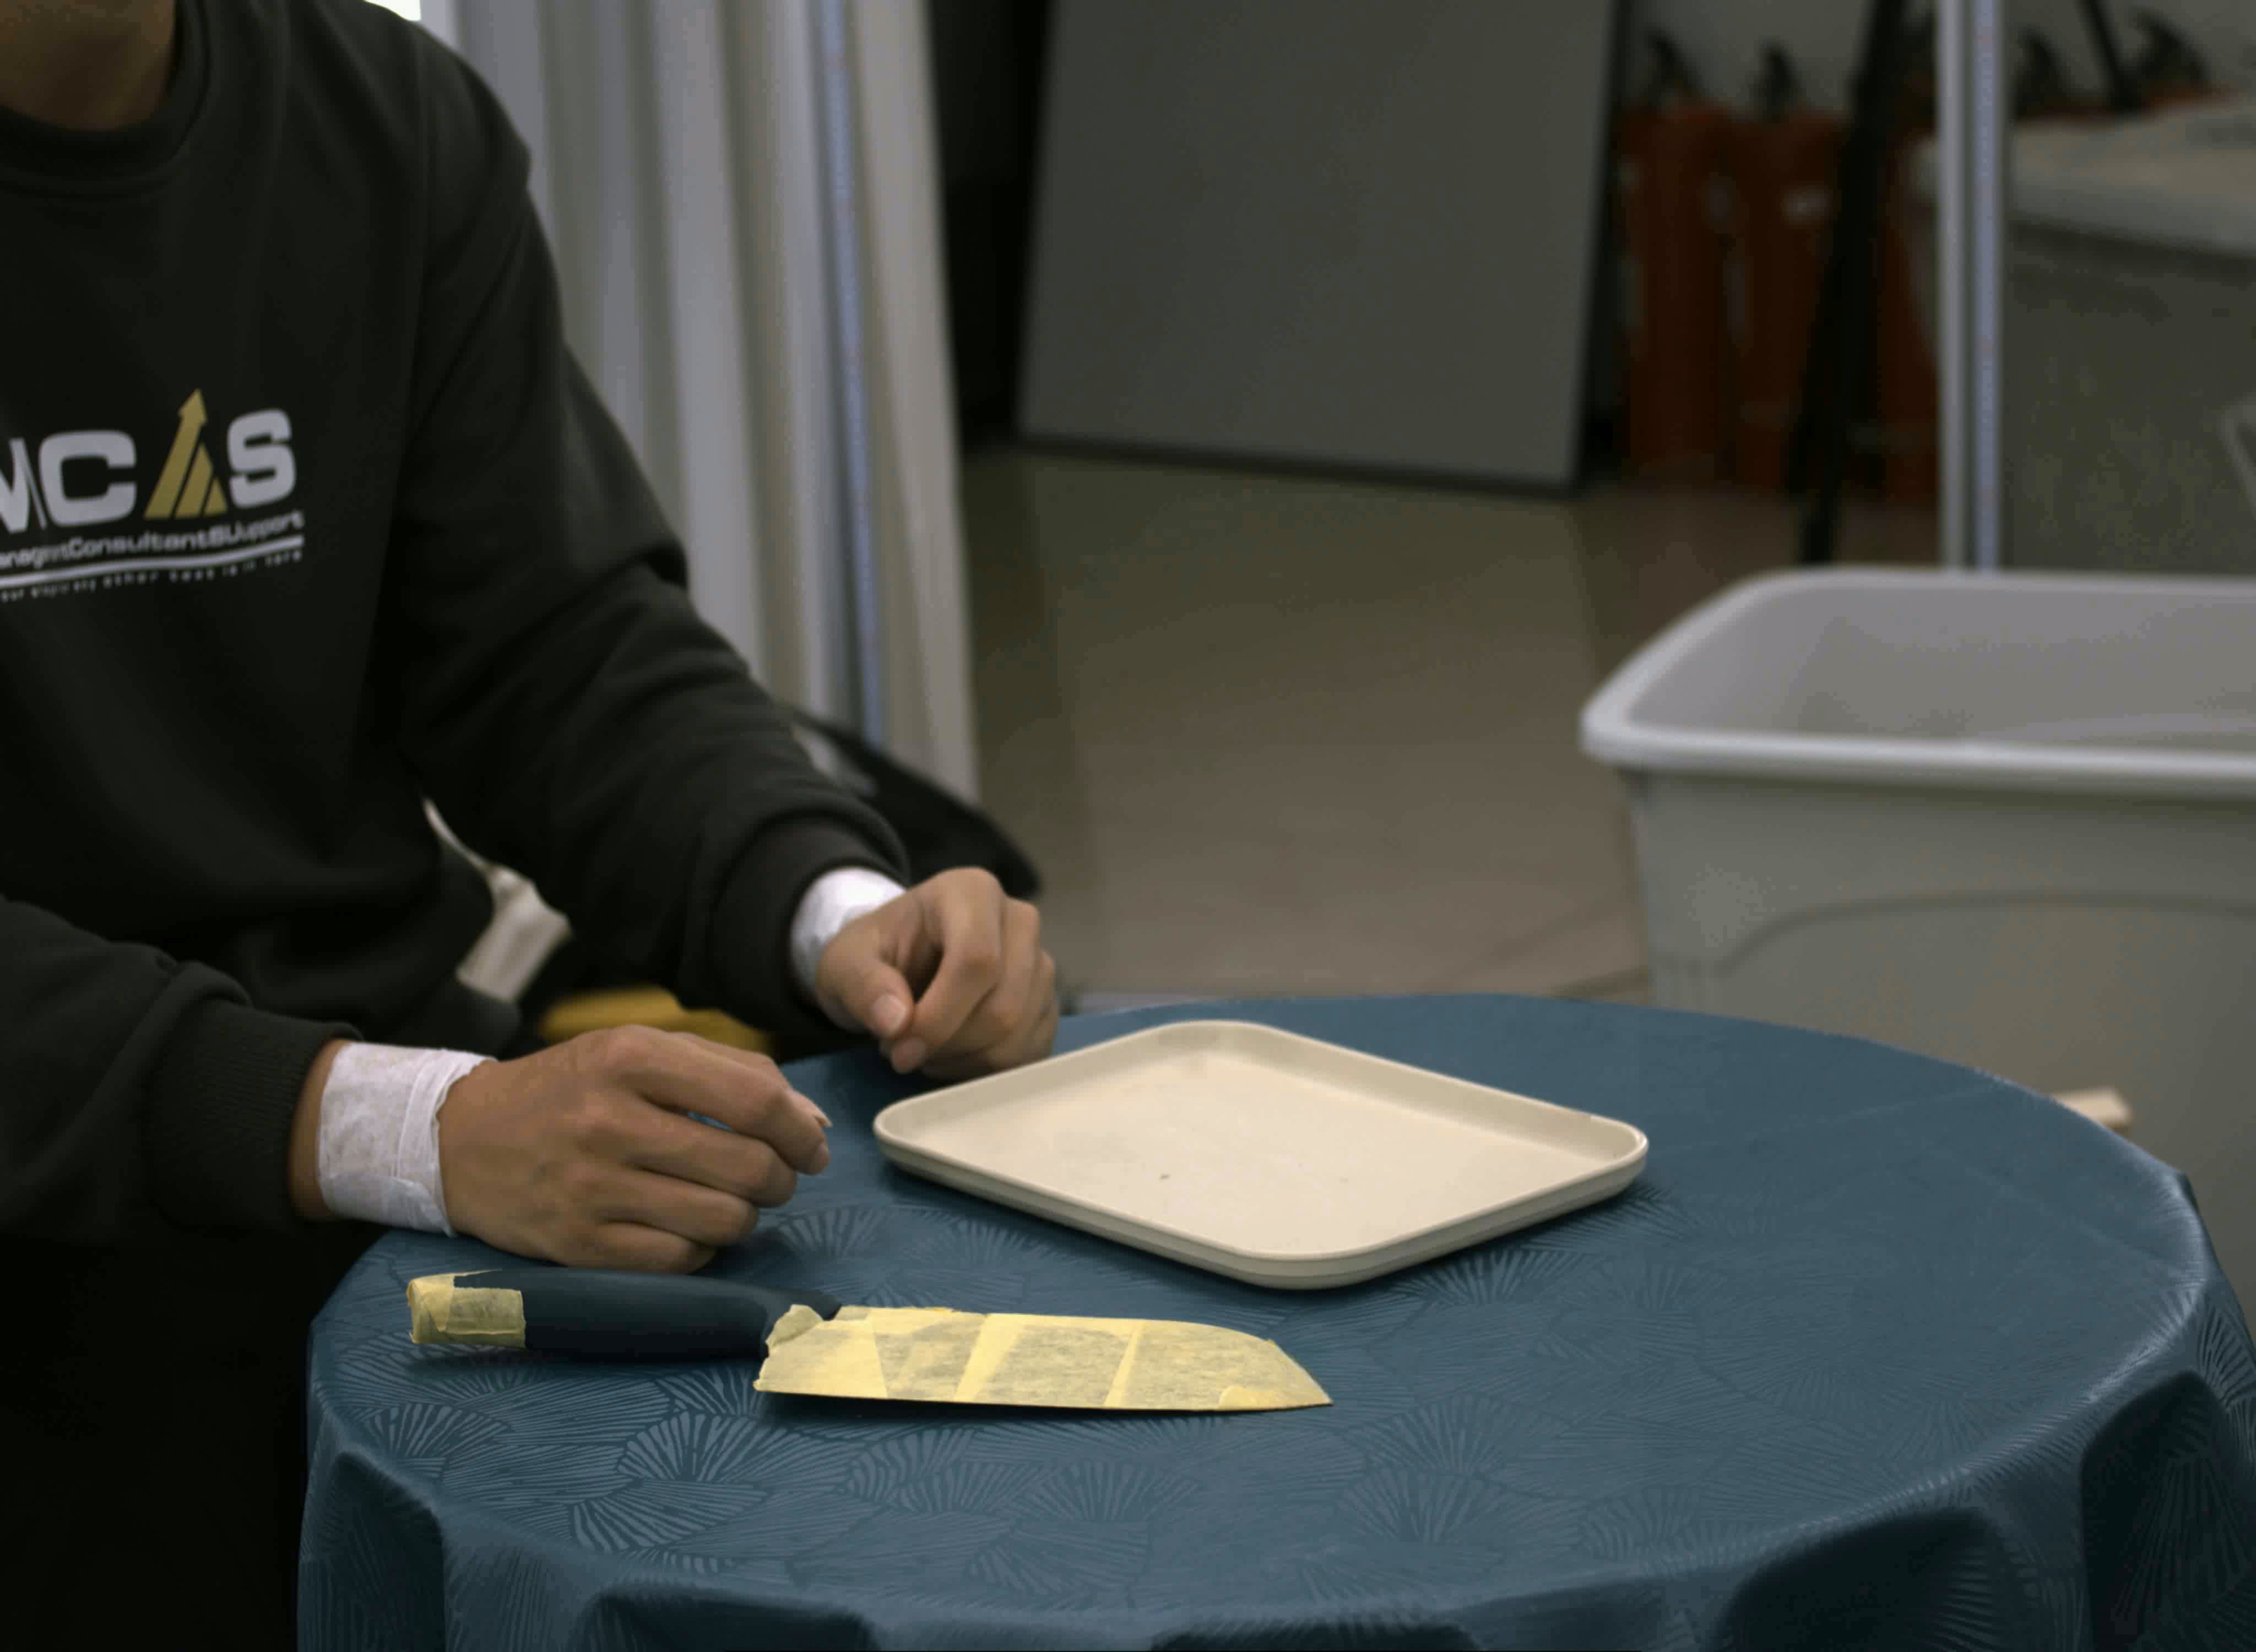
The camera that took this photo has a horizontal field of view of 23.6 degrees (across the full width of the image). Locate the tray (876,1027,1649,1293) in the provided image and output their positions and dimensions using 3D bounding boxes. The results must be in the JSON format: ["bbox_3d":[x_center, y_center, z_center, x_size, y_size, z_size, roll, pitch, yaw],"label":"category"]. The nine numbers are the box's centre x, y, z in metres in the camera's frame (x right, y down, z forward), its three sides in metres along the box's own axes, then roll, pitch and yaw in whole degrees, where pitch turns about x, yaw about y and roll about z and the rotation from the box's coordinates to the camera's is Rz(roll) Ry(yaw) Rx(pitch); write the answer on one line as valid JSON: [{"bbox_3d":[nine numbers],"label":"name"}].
[{"bbox_3d":[0.042,0.109,1.777,0.167,0.017,0.242,-15,17,-36],"label":"tray"}]

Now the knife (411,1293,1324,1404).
[{"bbox_3d":[-0.081,0.159,1.612,0.288,0.027,0.080,0,12,13],"label":"knife"}]
